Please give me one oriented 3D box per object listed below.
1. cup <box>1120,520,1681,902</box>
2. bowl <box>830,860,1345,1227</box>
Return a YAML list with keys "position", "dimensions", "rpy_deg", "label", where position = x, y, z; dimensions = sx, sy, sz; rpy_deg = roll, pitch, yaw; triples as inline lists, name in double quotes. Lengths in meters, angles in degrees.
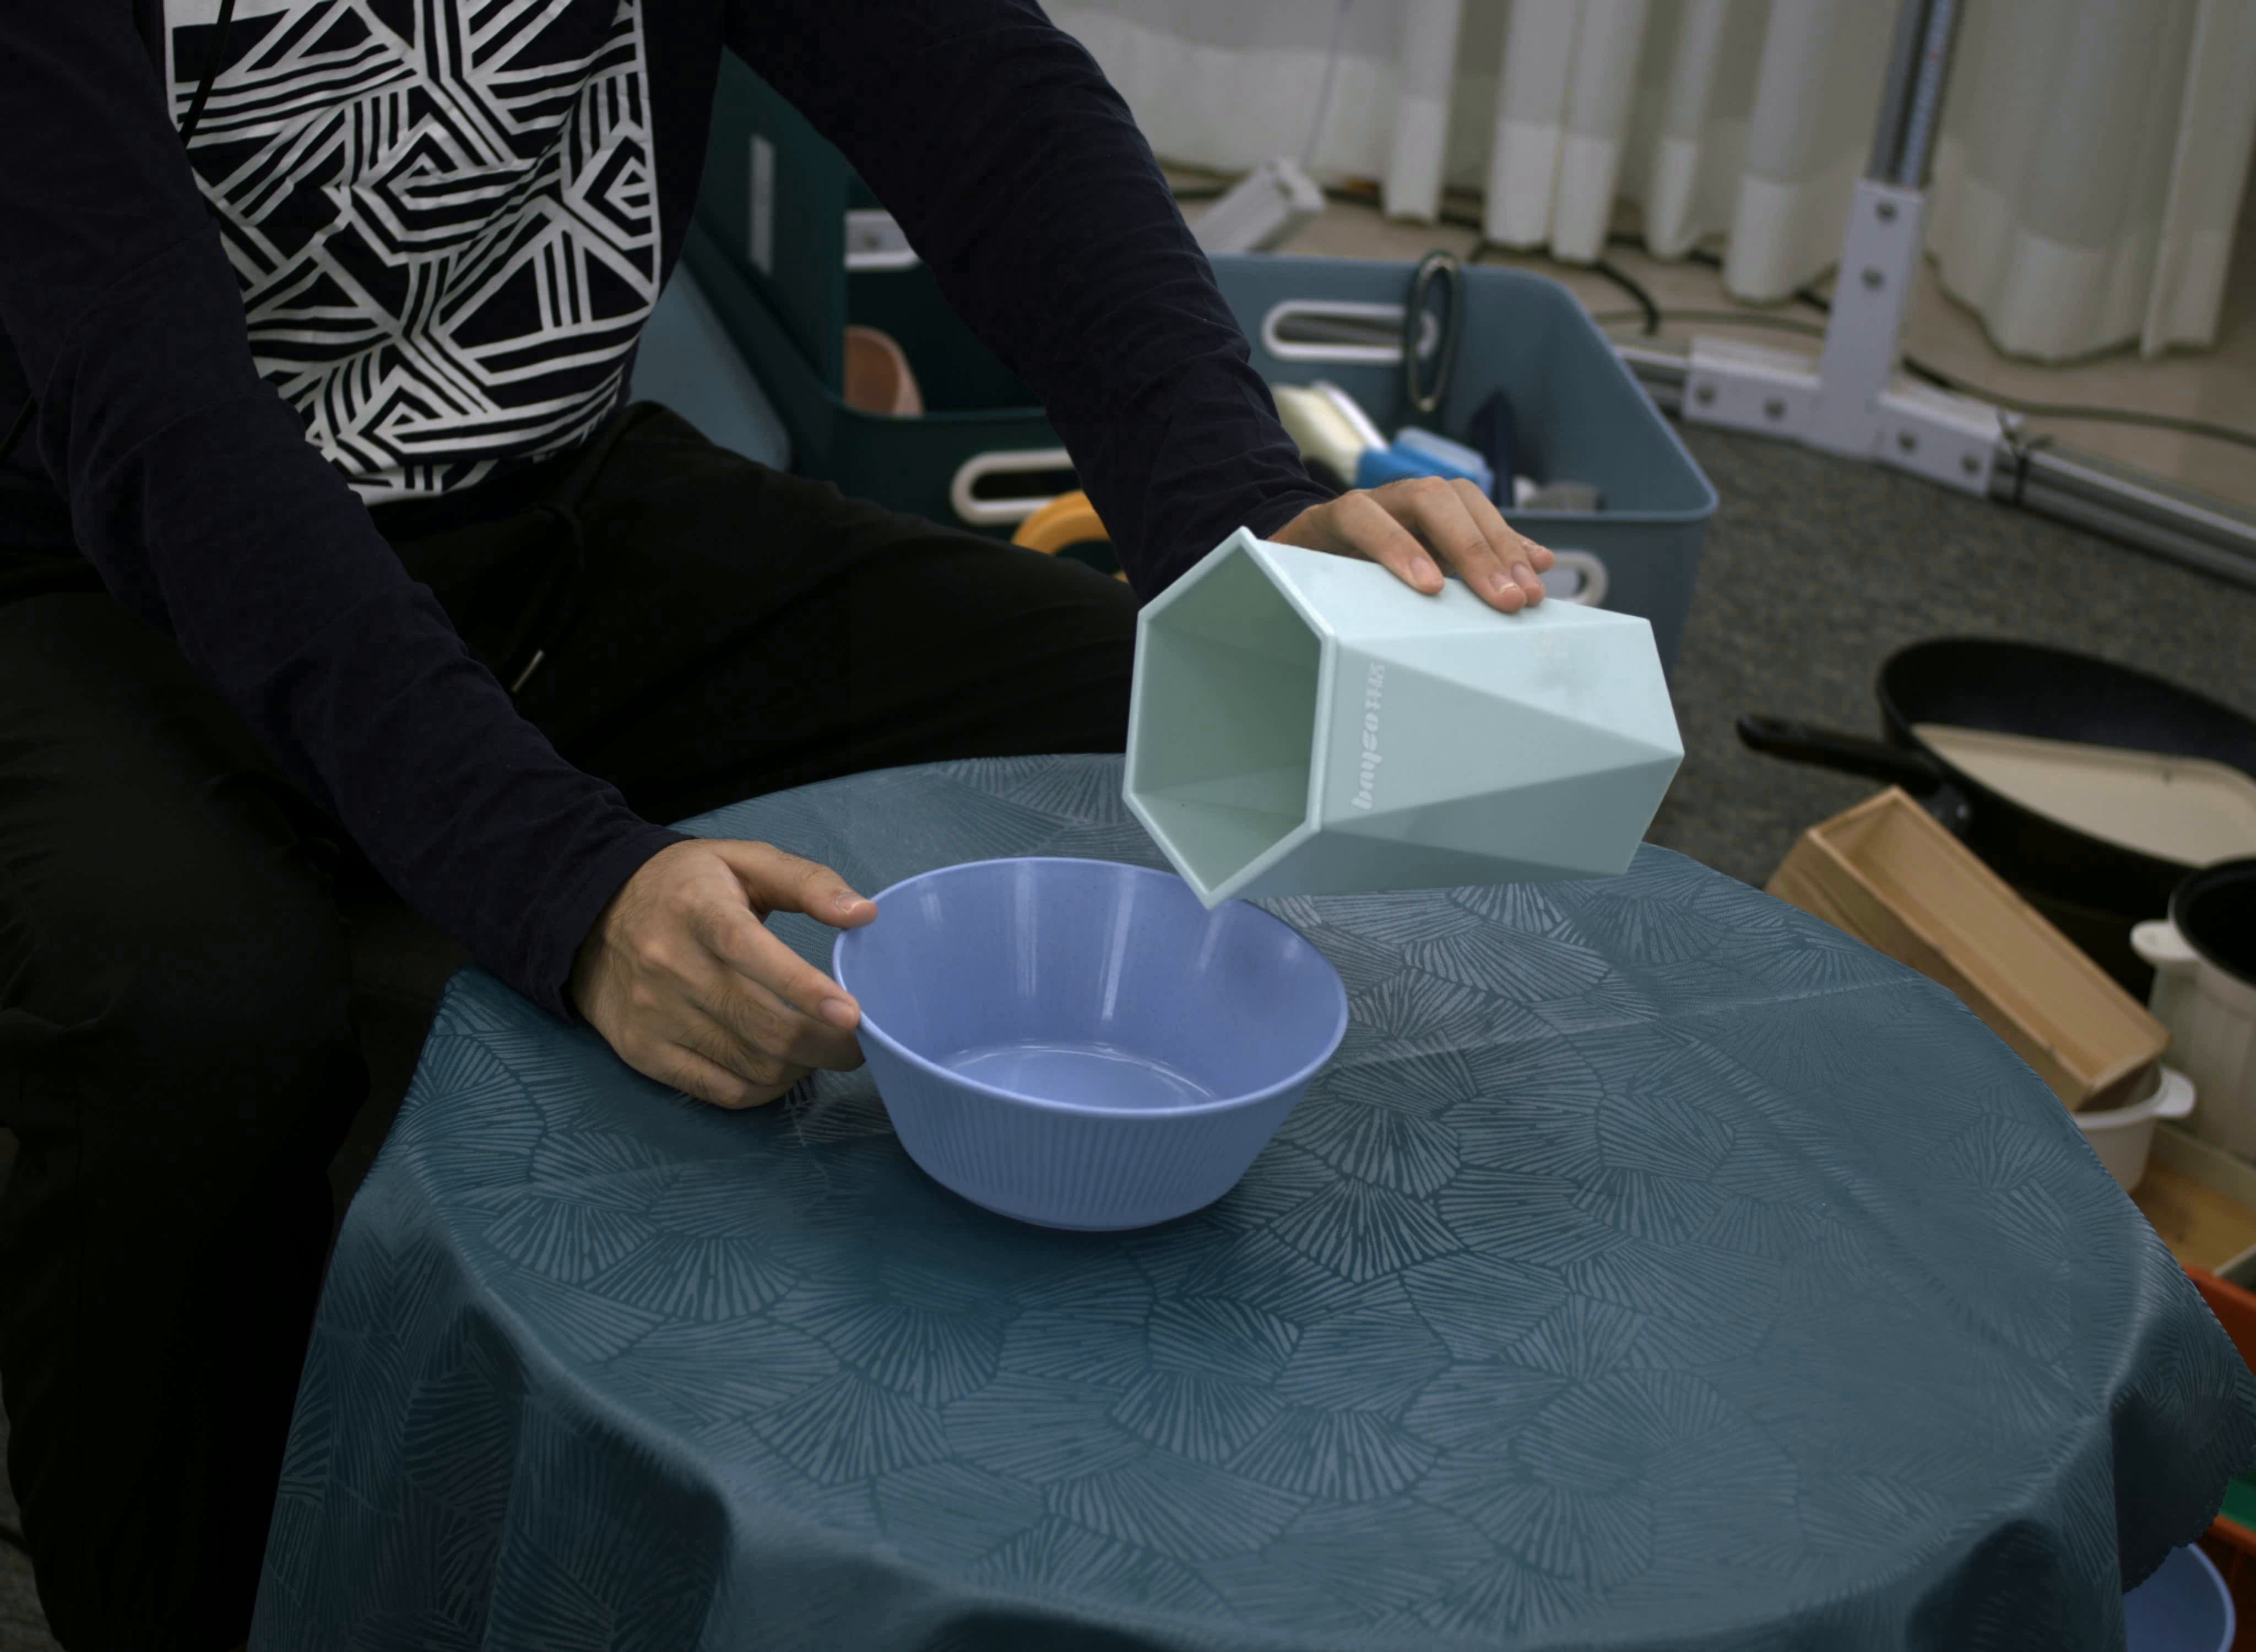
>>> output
- position: [0.098, -0.034, 1.849]
  dimensions: [0.161, 0.131, 0.116]
  rpy_deg: [4, 0, -33]
  label: "cup"
- position: [-0.017, 0.079, 1.812]
  dimensions: [0.175, 0.070, 0.177]
  rpy_deg: [5, 27, -3]
  label: "bowl"
